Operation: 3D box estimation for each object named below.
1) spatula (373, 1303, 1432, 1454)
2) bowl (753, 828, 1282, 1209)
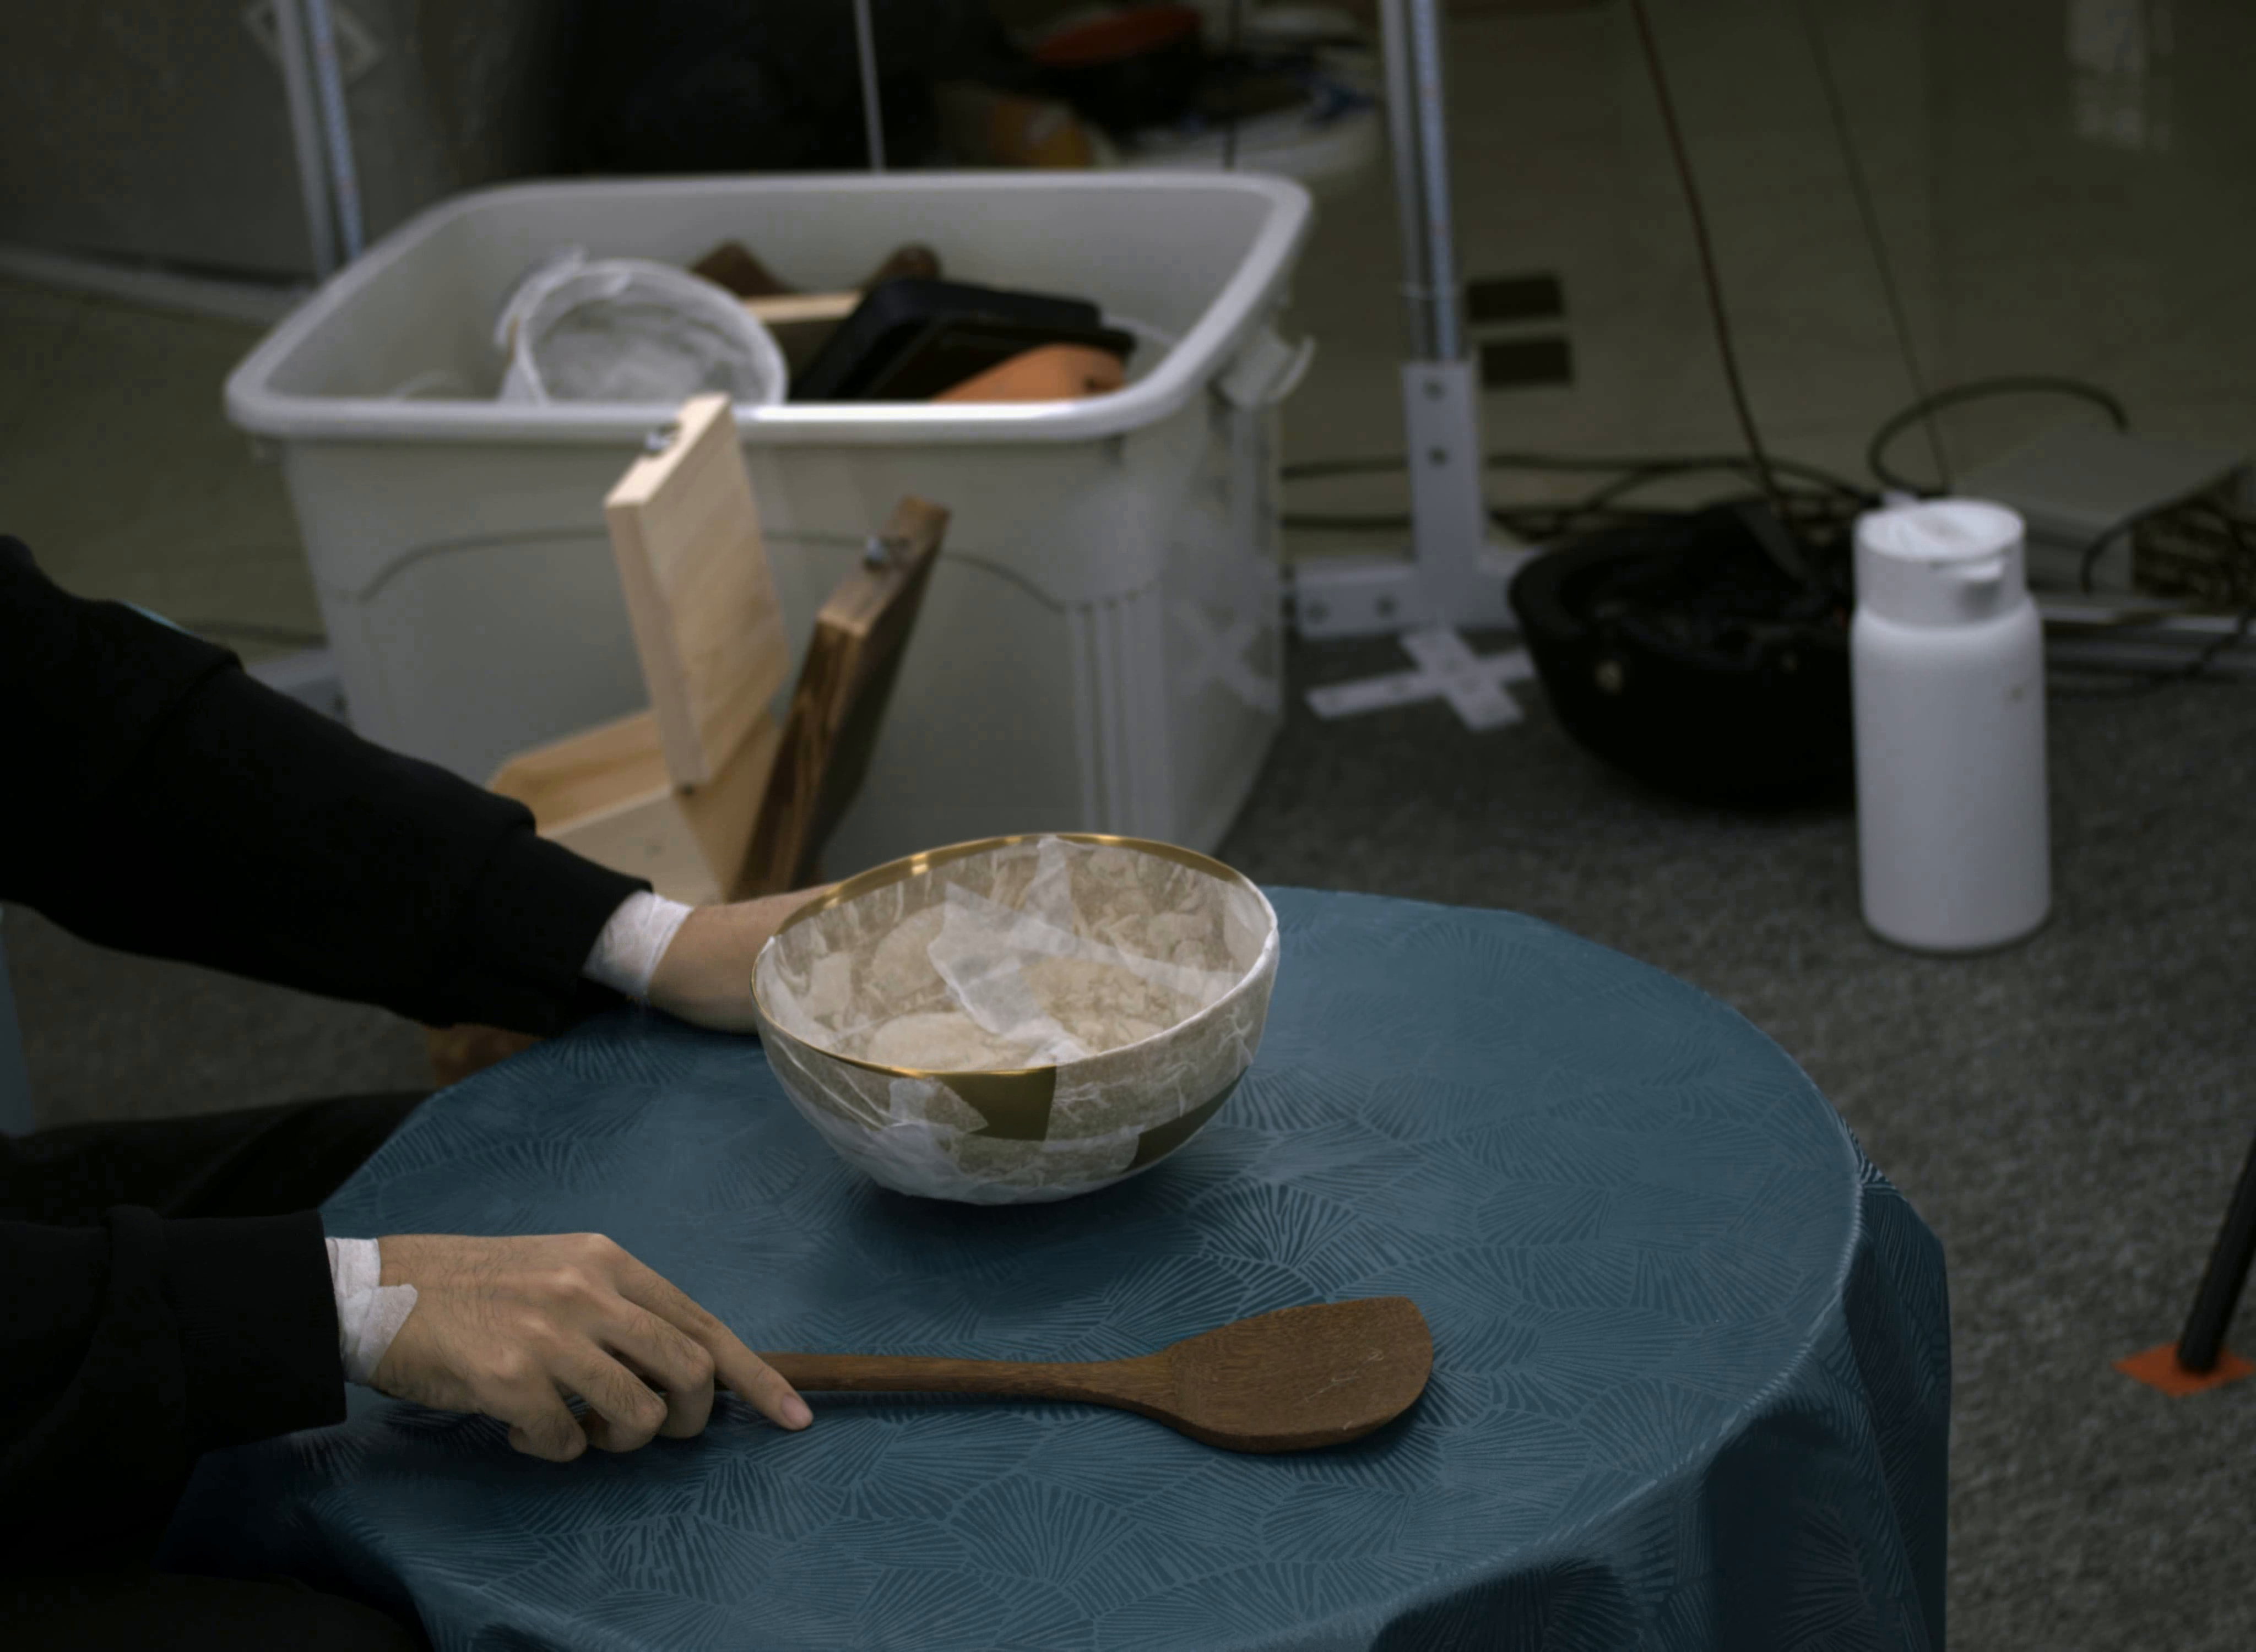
[{"bbox_3d":[-0.083,0.195,2.025,0.385,0.016,0.095,0,26,9],"label":"spatula"},{"bbox_3d":[-0.040,0.086,2.168,0.214,0.096,0.211,-7,26,4],"label":"bowl"}]
